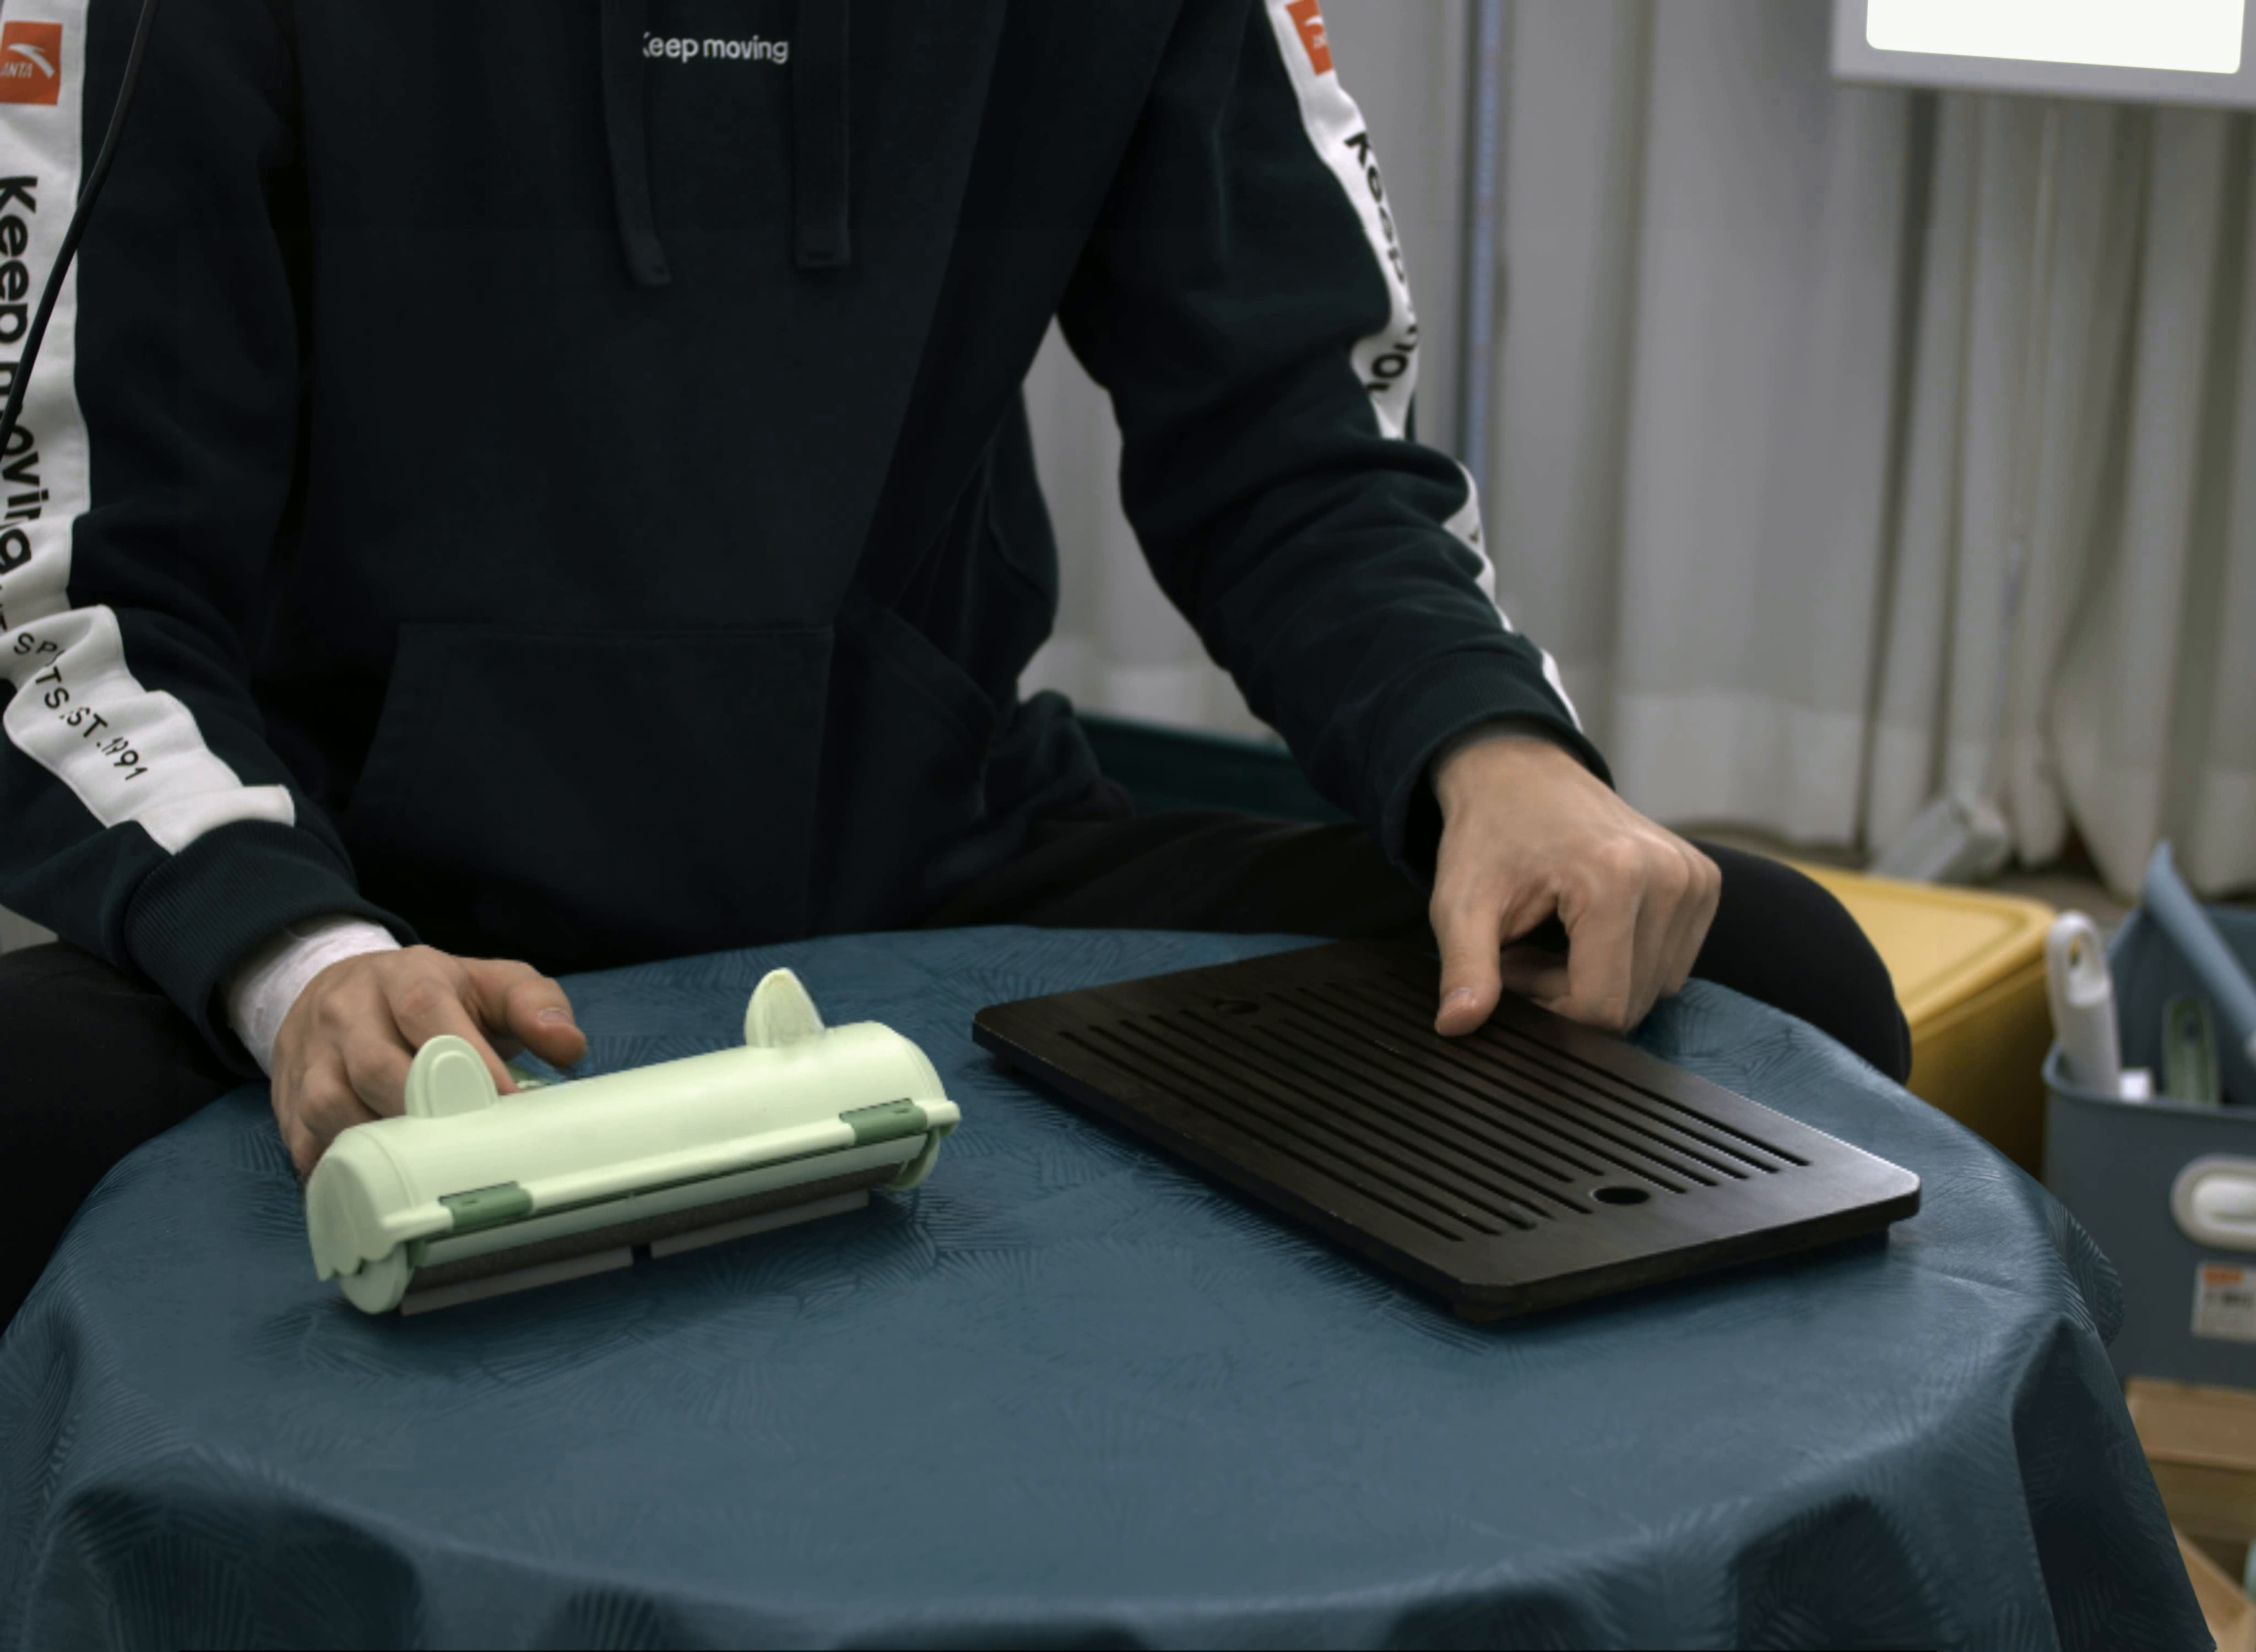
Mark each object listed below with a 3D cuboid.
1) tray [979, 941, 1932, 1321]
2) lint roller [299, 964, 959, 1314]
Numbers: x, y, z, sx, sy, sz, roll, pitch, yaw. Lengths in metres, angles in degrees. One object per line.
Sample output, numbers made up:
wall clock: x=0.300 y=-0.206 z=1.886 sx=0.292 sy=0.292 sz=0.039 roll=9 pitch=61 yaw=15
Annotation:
tray: x=0.096 y=0.092 z=1.661 sx=0.171 sy=0.019 sz=0.302 roll=-9 pitch=18 yaw=-30
lint roller: x=-0.178 y=0.078 z=1.590 sx=0.199 sy=0.083 sz=0.181 roll=-11 pitch=22 yaw=-34
